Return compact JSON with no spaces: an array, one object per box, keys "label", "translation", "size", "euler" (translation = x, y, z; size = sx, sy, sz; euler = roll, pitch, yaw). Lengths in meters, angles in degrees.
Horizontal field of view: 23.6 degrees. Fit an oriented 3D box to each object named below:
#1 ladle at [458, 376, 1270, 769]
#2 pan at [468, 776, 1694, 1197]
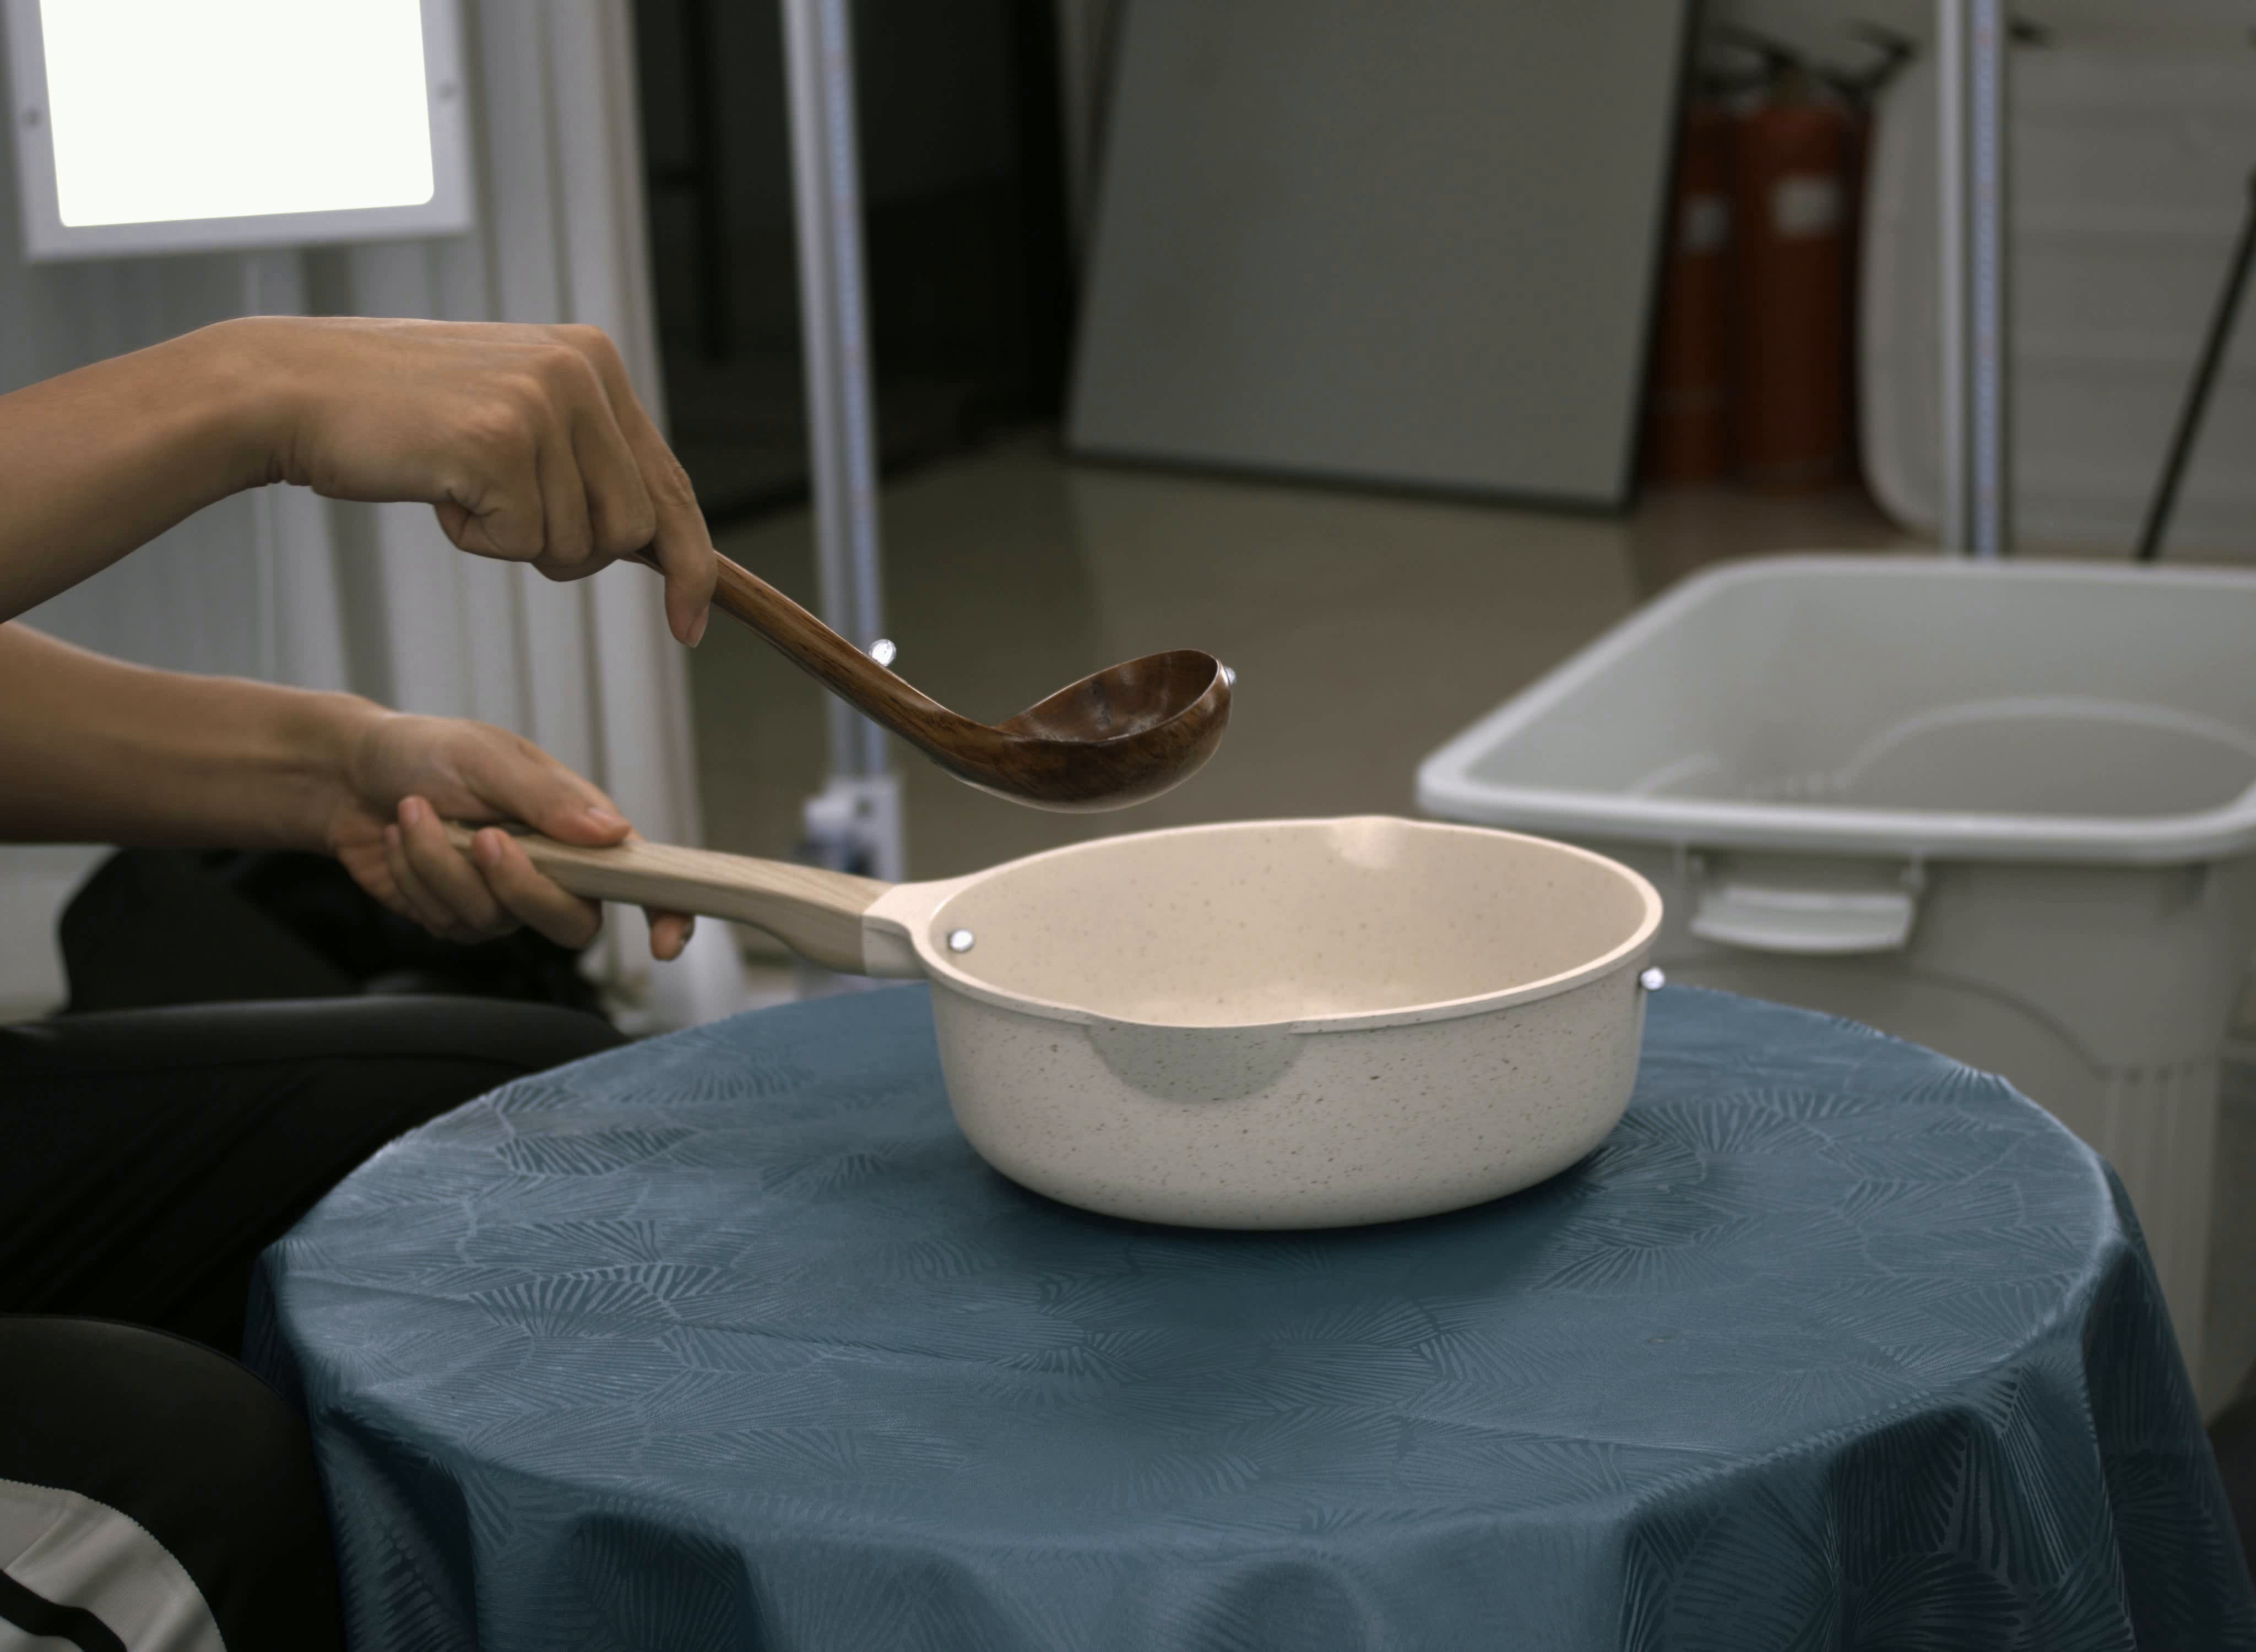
[{"label":"ladle","translation":[-0.073,-0.093,1.636],"size":[0.269,0.077,0.083],"euler":[31,-17,-26]},{"label":"pan","translation":[-0.019,0.048,1.846],"size":[0.433,0.103,0.261],"euler":[0,16,18]}]
